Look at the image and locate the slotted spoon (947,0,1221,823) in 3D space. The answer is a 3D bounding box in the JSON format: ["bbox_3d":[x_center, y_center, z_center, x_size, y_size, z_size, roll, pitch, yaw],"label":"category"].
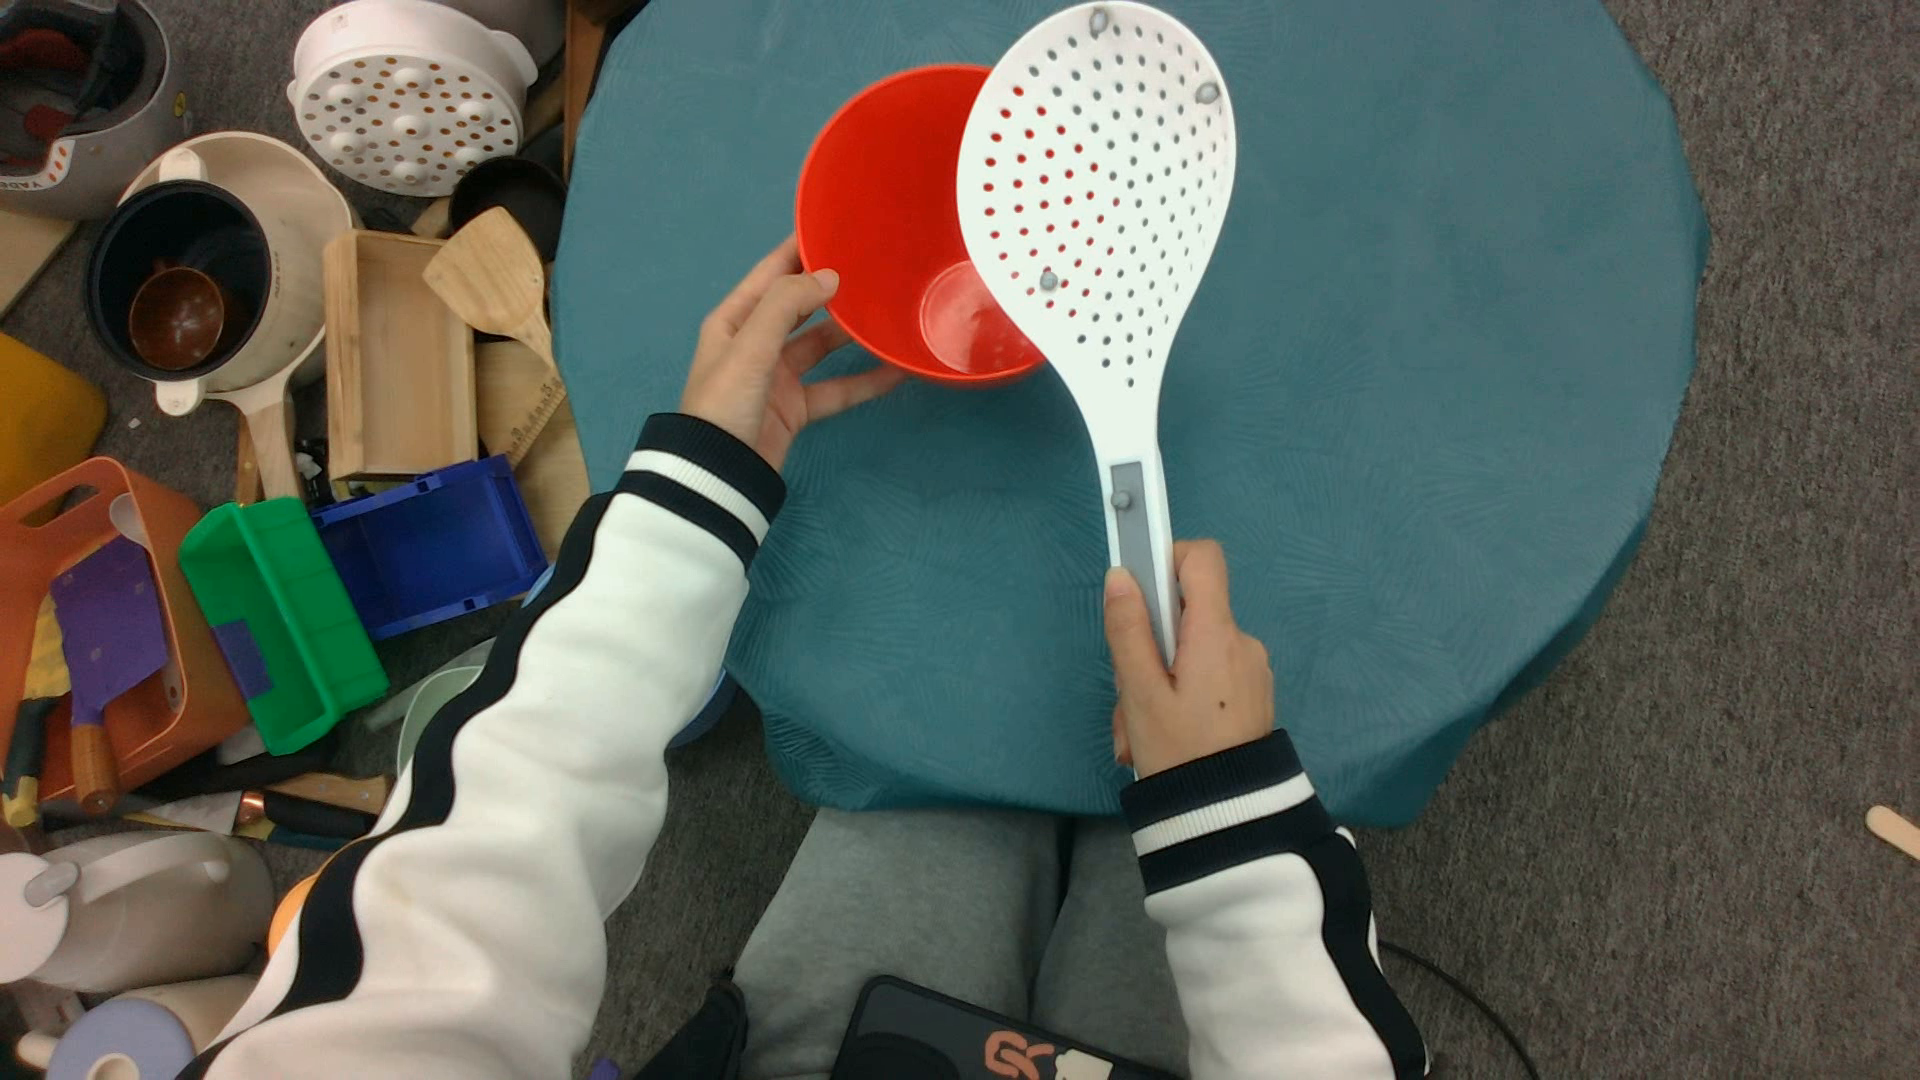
[{"bbox_3d":[0.067,-0.053,0.589,0.135,0.046,0.350,-7,85,37],"label":"slotted spoon"}]

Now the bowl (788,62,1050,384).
[{"bbox_3d":[-0.004,-0.138,0.666,0.148,0.104,0.148,0,74,0],"label":"bowl"}]
